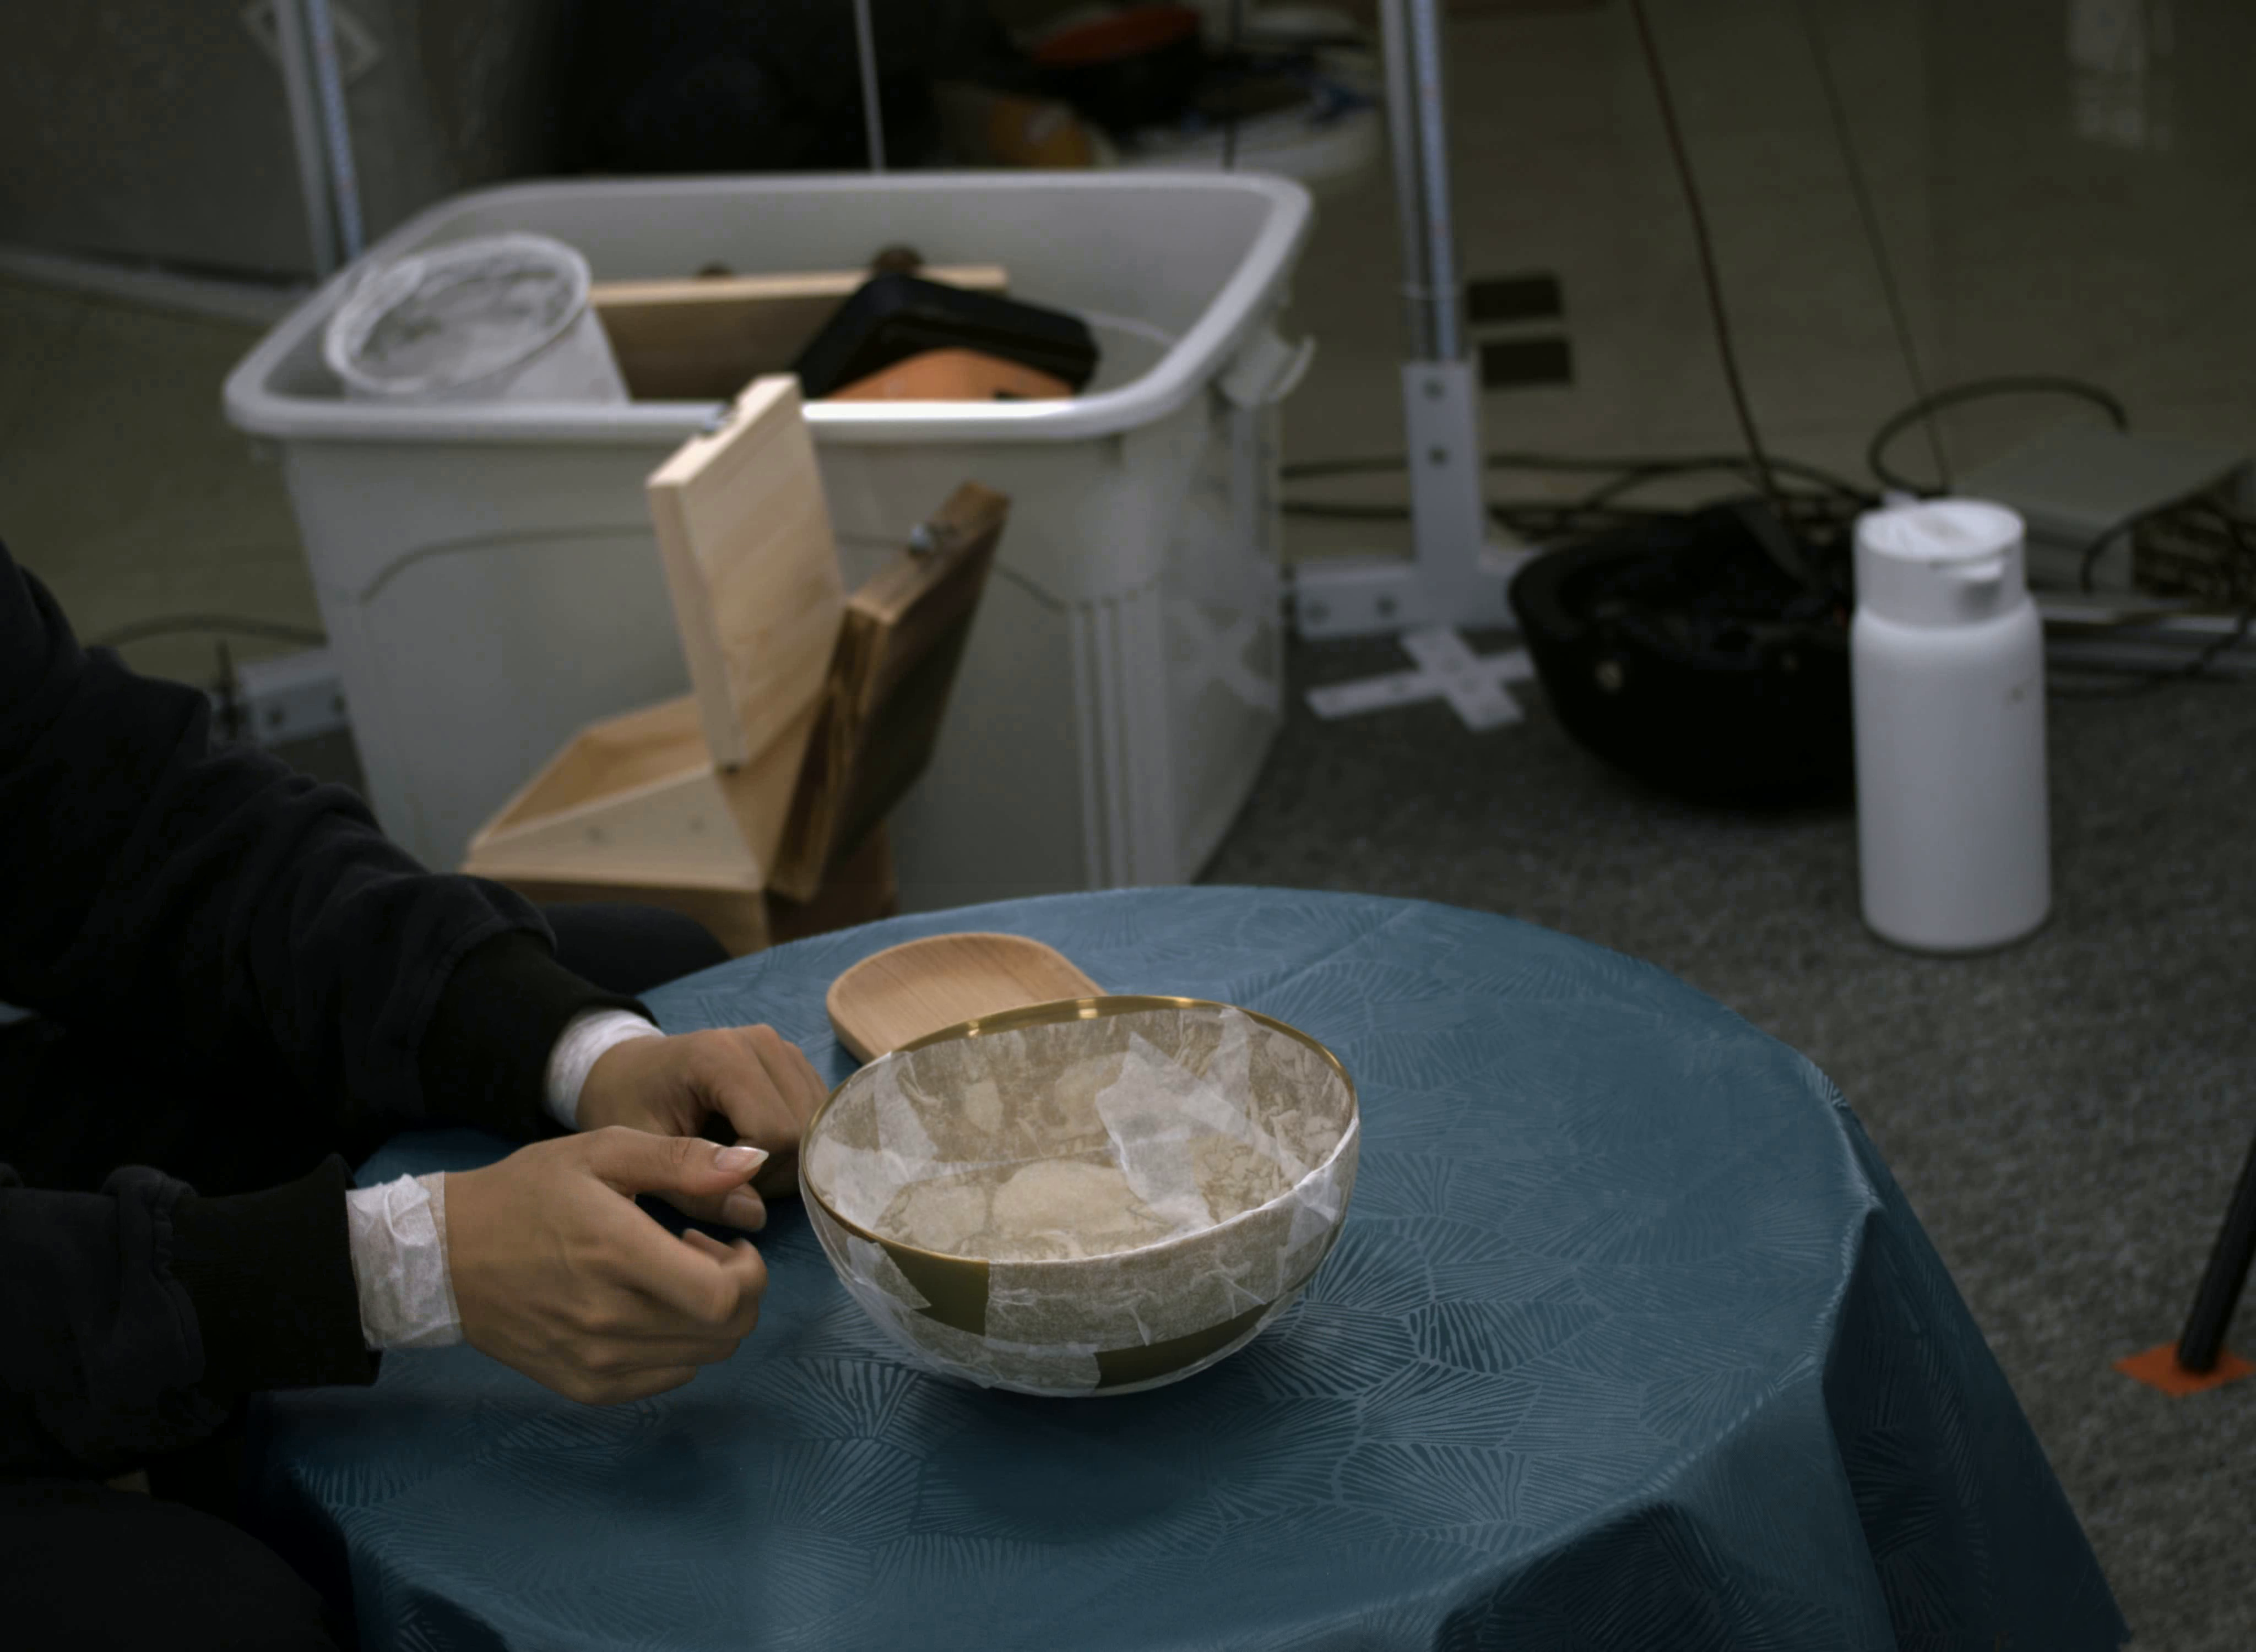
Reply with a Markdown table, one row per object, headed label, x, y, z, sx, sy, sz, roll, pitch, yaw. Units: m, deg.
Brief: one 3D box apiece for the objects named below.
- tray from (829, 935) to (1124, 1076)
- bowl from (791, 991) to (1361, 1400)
| label | x | y | z | sx | sy | sz | roll | pitch | yaw |
| --- | --- | --- | --- | --- | --- | --- | --- | --- | --- |
| tray | -0.040 | 0.095 | 2.239 | 0.101 | 0.020 | 0.228 | -19 | 30 | -21 |
| bowl | -0.014 | 0.143 | 2.035 | 0.214 | 0.096 | 0.211 | -6 | 26 | 3 |
